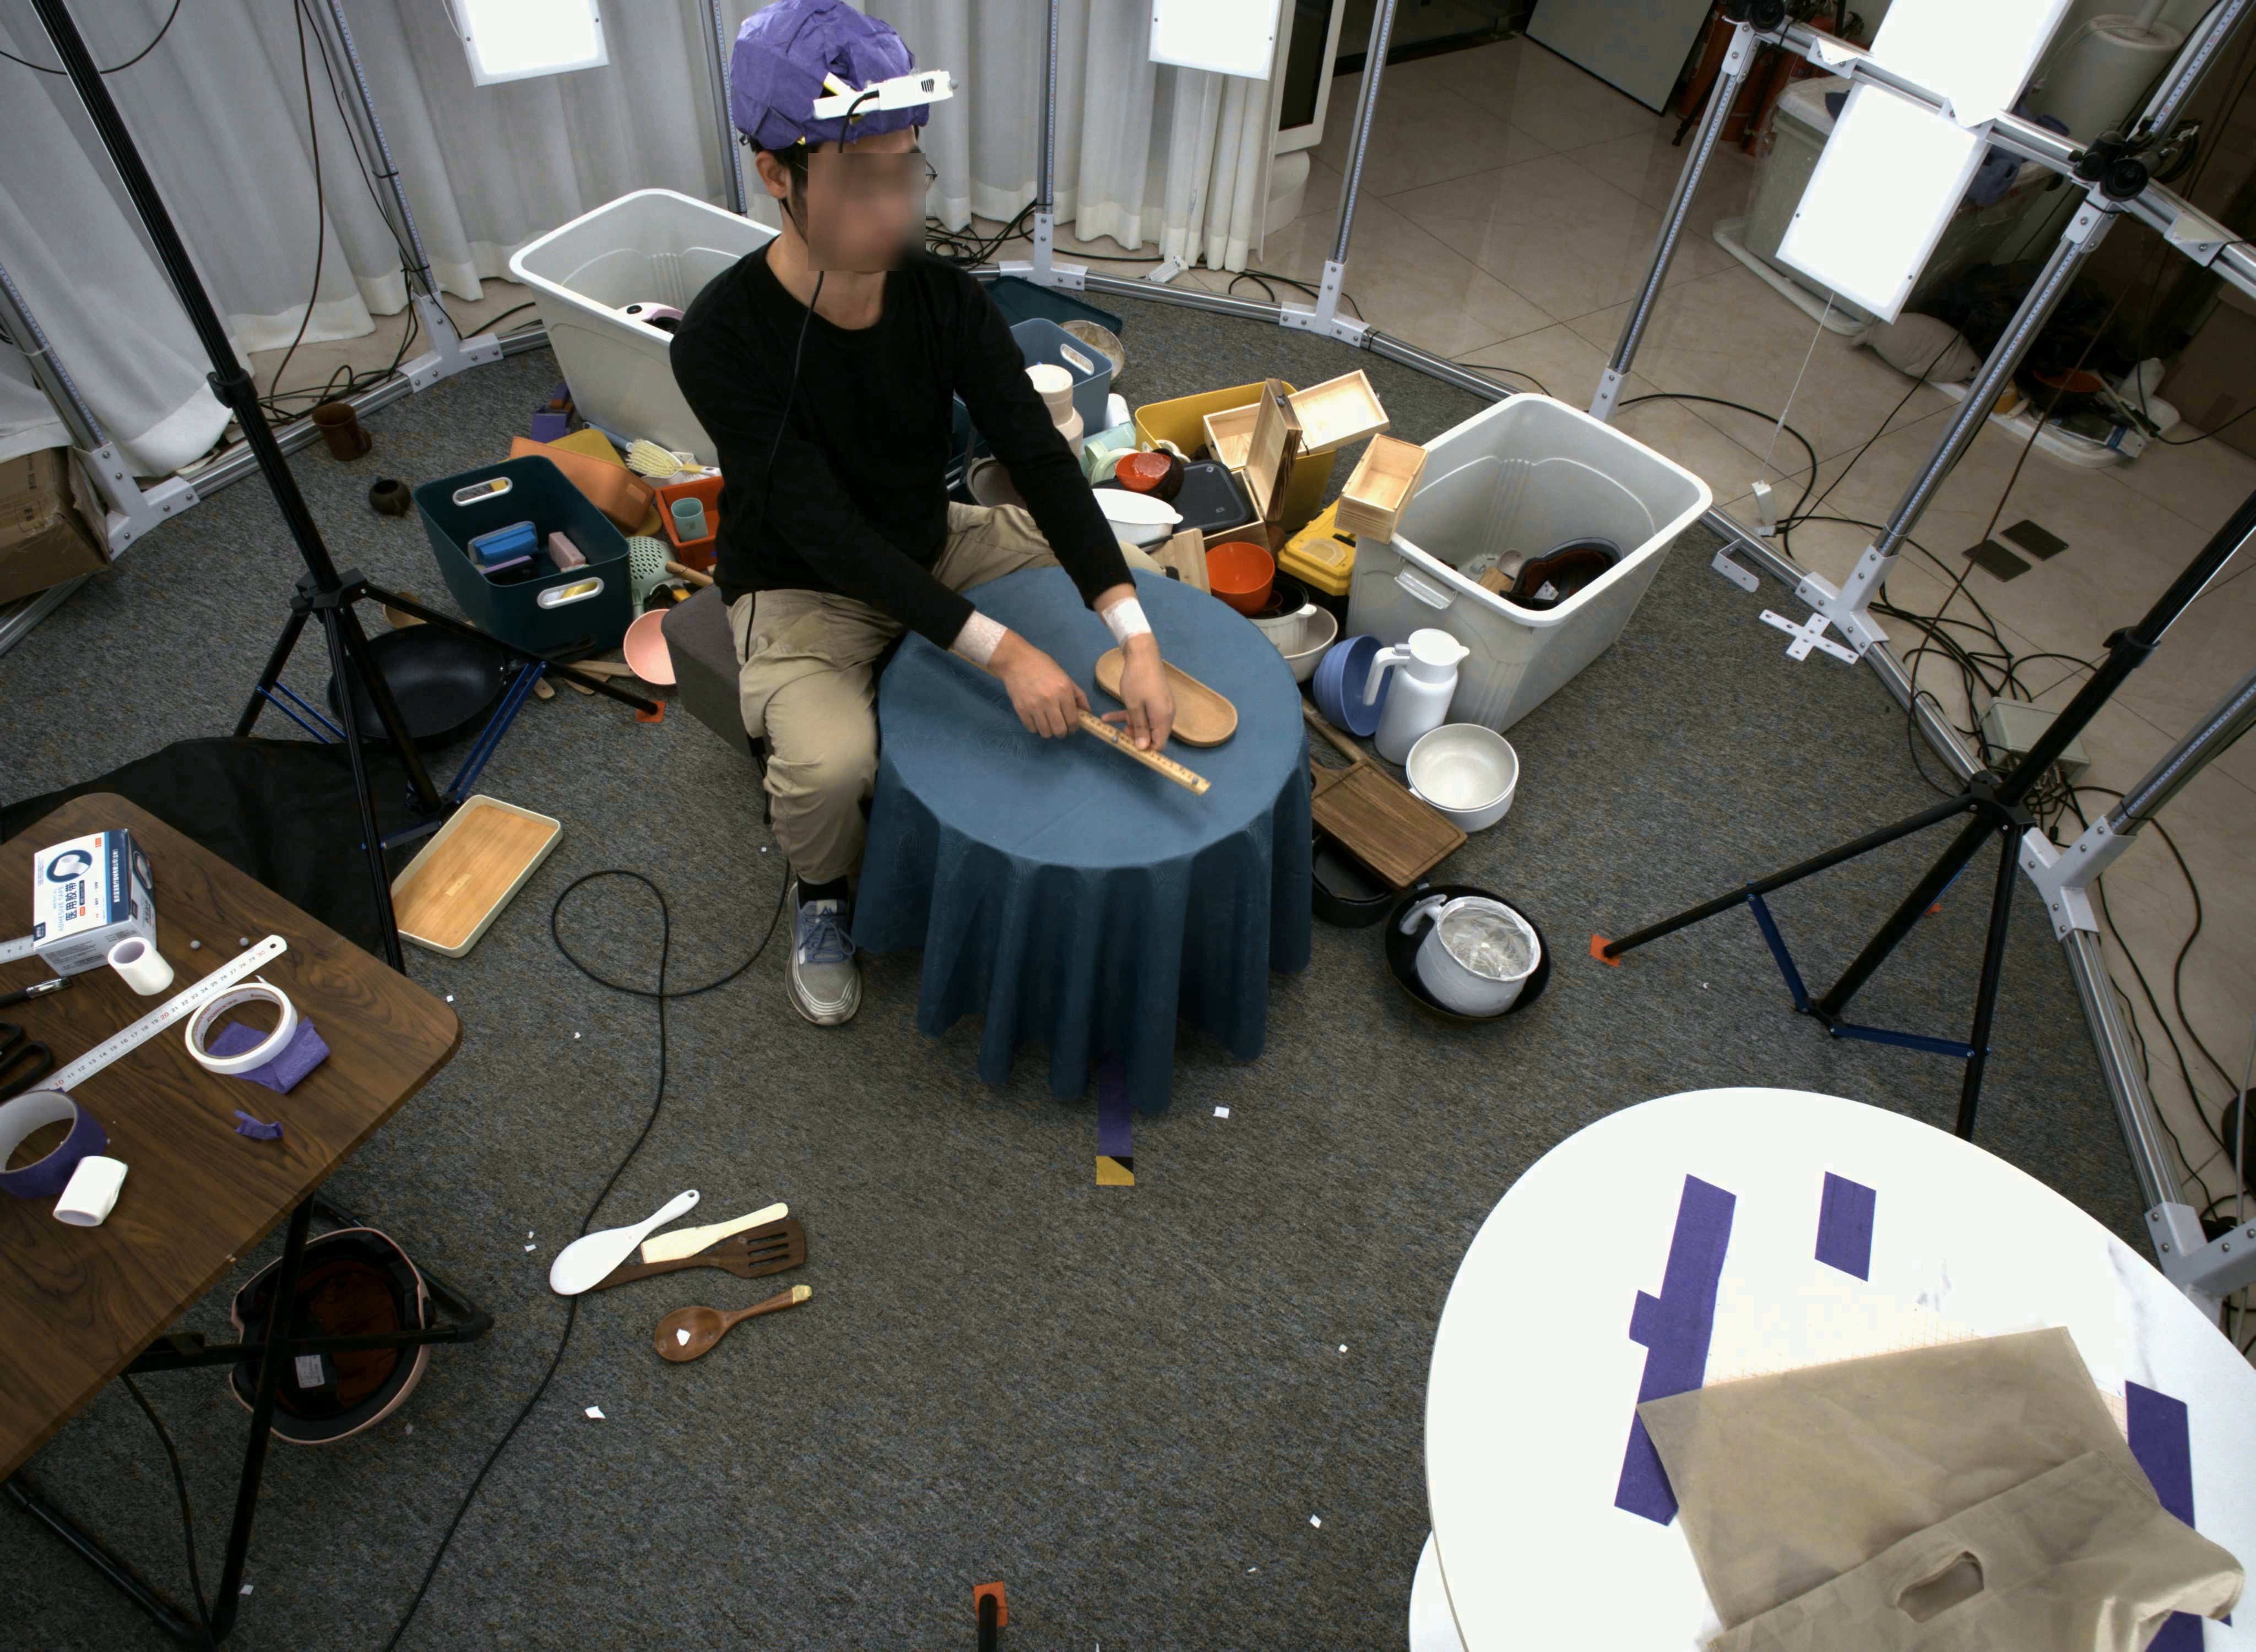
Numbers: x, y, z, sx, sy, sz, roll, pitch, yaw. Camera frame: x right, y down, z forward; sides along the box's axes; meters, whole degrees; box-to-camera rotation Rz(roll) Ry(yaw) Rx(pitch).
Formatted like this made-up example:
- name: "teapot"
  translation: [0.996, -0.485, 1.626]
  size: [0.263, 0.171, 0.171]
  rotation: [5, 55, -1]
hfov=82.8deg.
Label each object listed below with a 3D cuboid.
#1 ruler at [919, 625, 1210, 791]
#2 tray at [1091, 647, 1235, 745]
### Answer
- name: "ruler"
  translation: [-0.096, -0.169, 1.760]
  size: [0.506, 0.006, 0.027]
  rotation: [30, 50, 25]
- name: "tray"
  translation: [0.048, -0.186, 1.824]
  size: [0.234, 0.020, 0.103]
  rotation: [32, 53, 24]
